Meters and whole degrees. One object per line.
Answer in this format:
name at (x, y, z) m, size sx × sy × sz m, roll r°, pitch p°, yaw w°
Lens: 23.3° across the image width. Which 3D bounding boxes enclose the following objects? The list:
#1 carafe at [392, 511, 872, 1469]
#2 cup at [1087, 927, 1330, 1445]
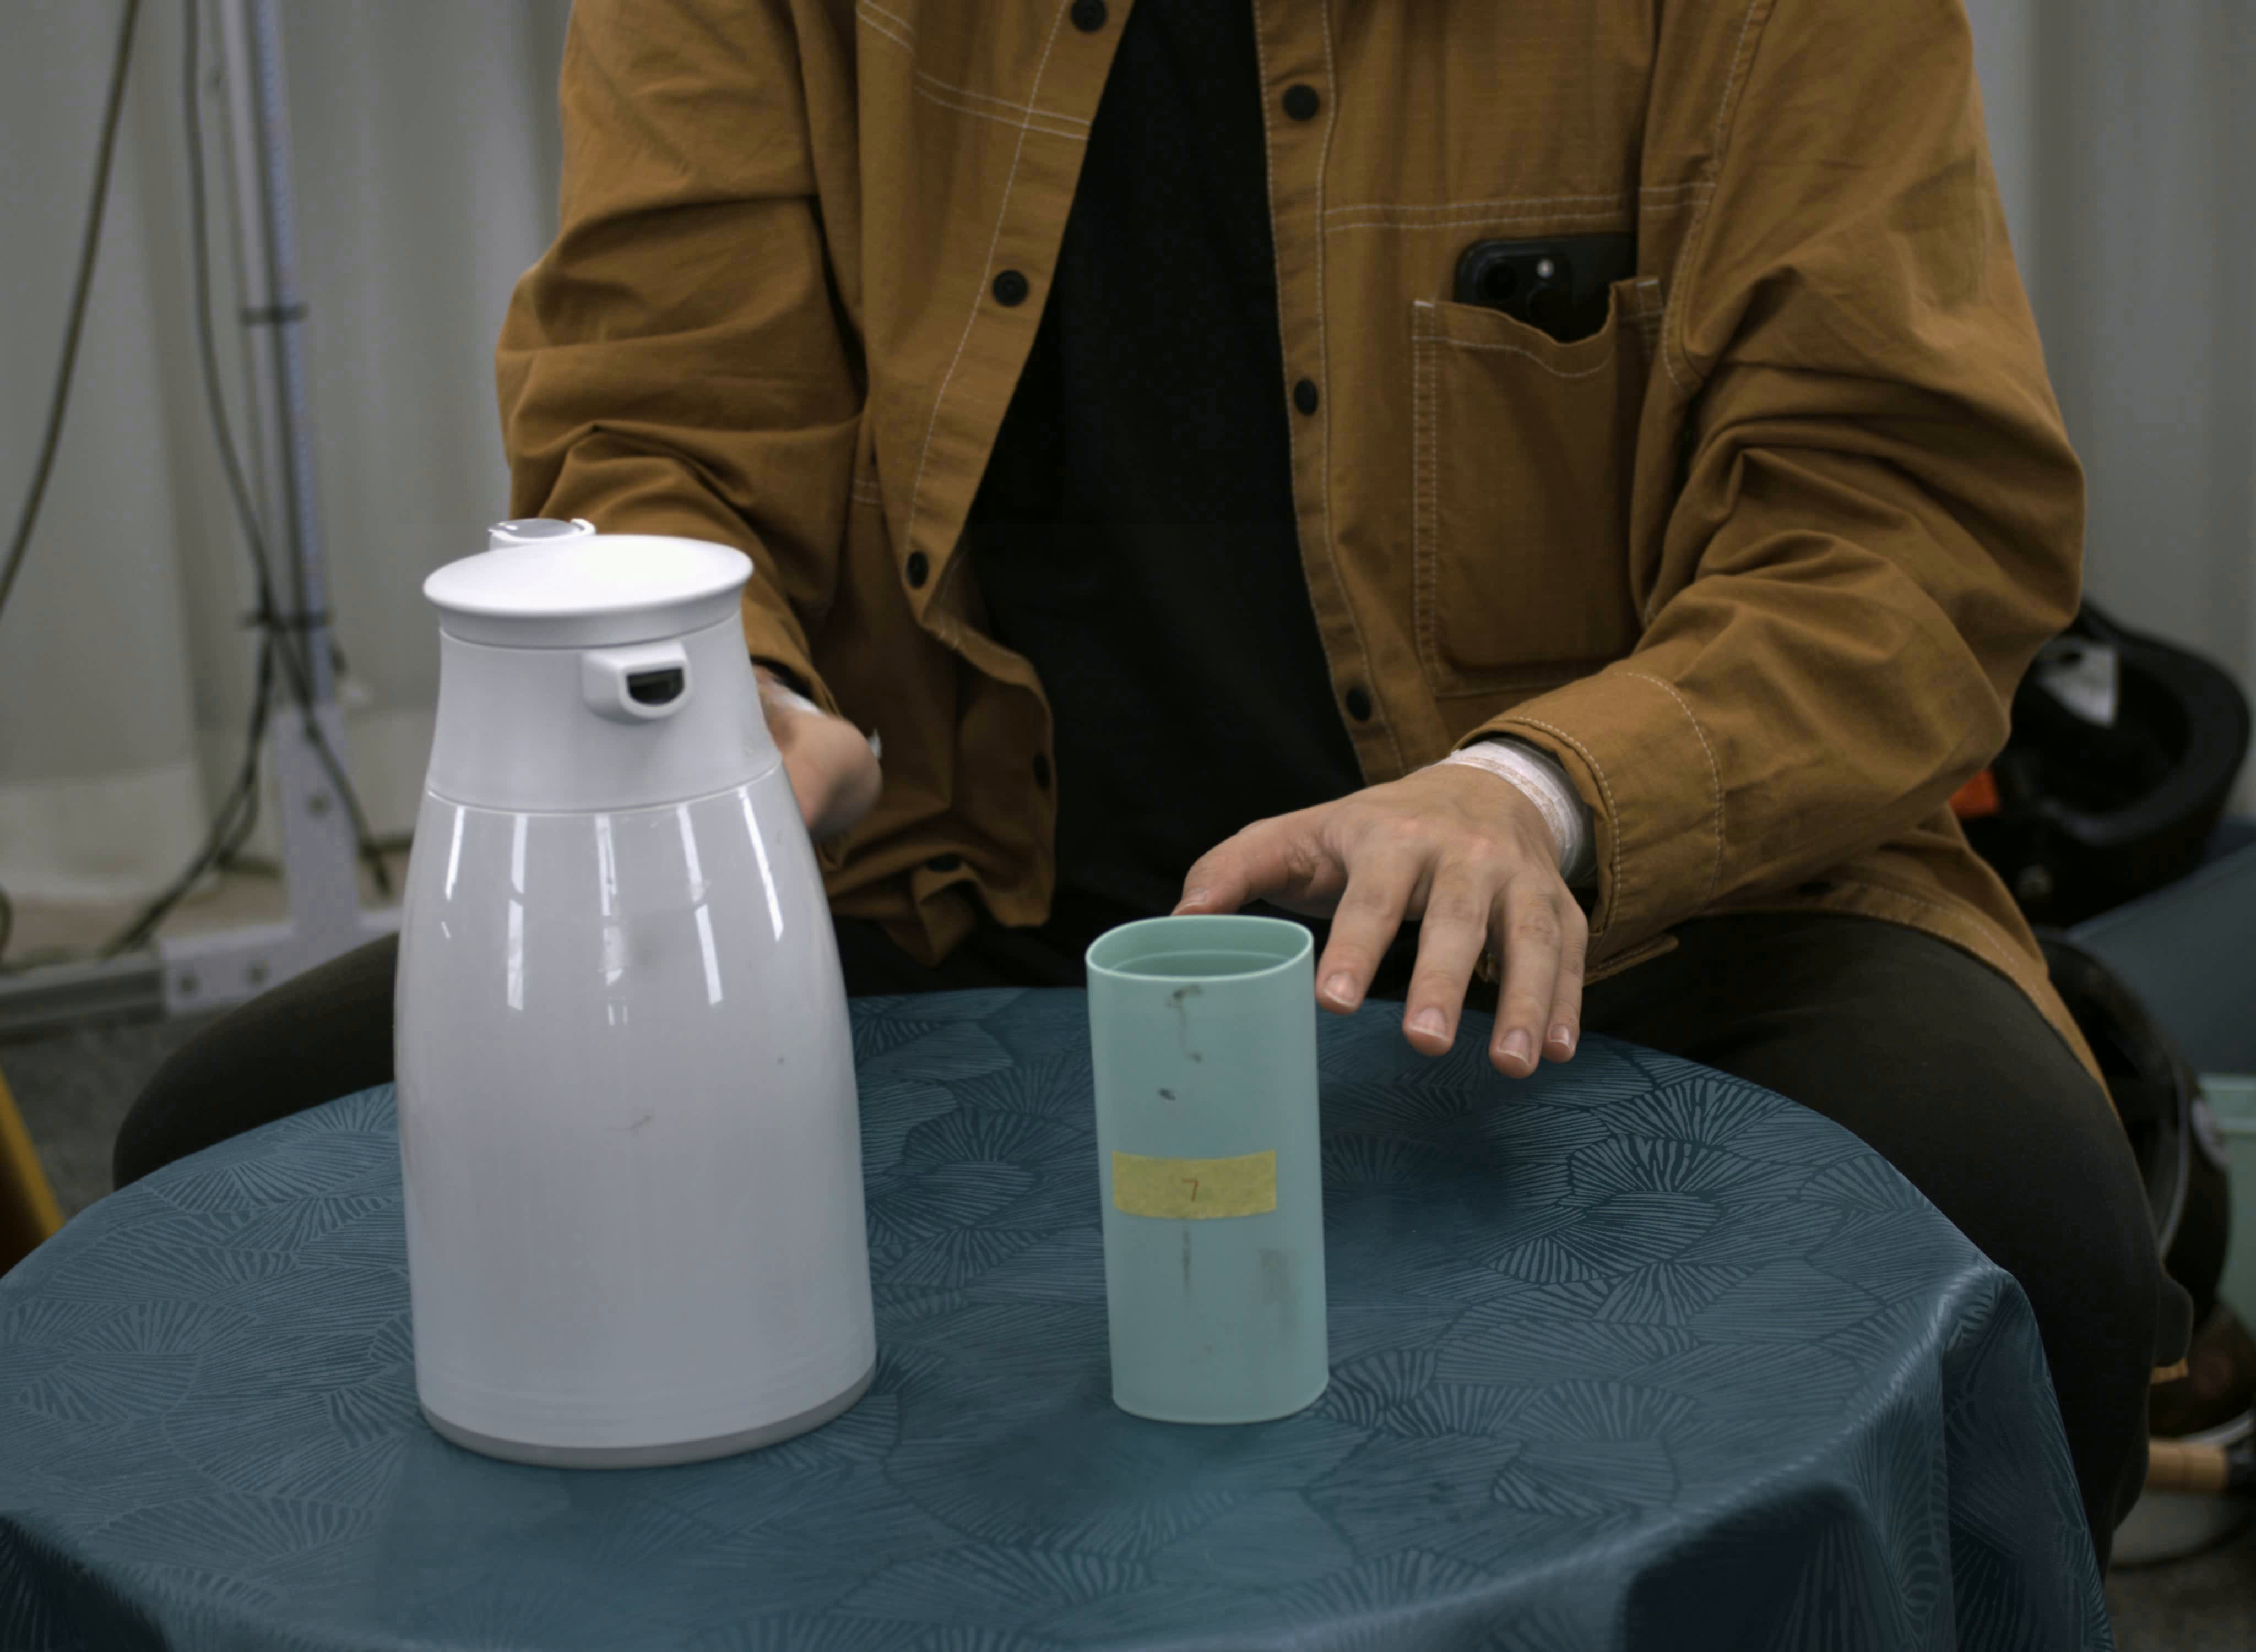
carafe at (-0.152, 0.037, 1.556) m, size 0.132 × 0.248 × 0.169 m, roll -9°, pitch 14°, yaw -21°
cup at (0.024, 0.099, 1.528) m, size 0.066 × 0.132 × 0.067 m, roll -2°, pitch 14°, yaw 0°
